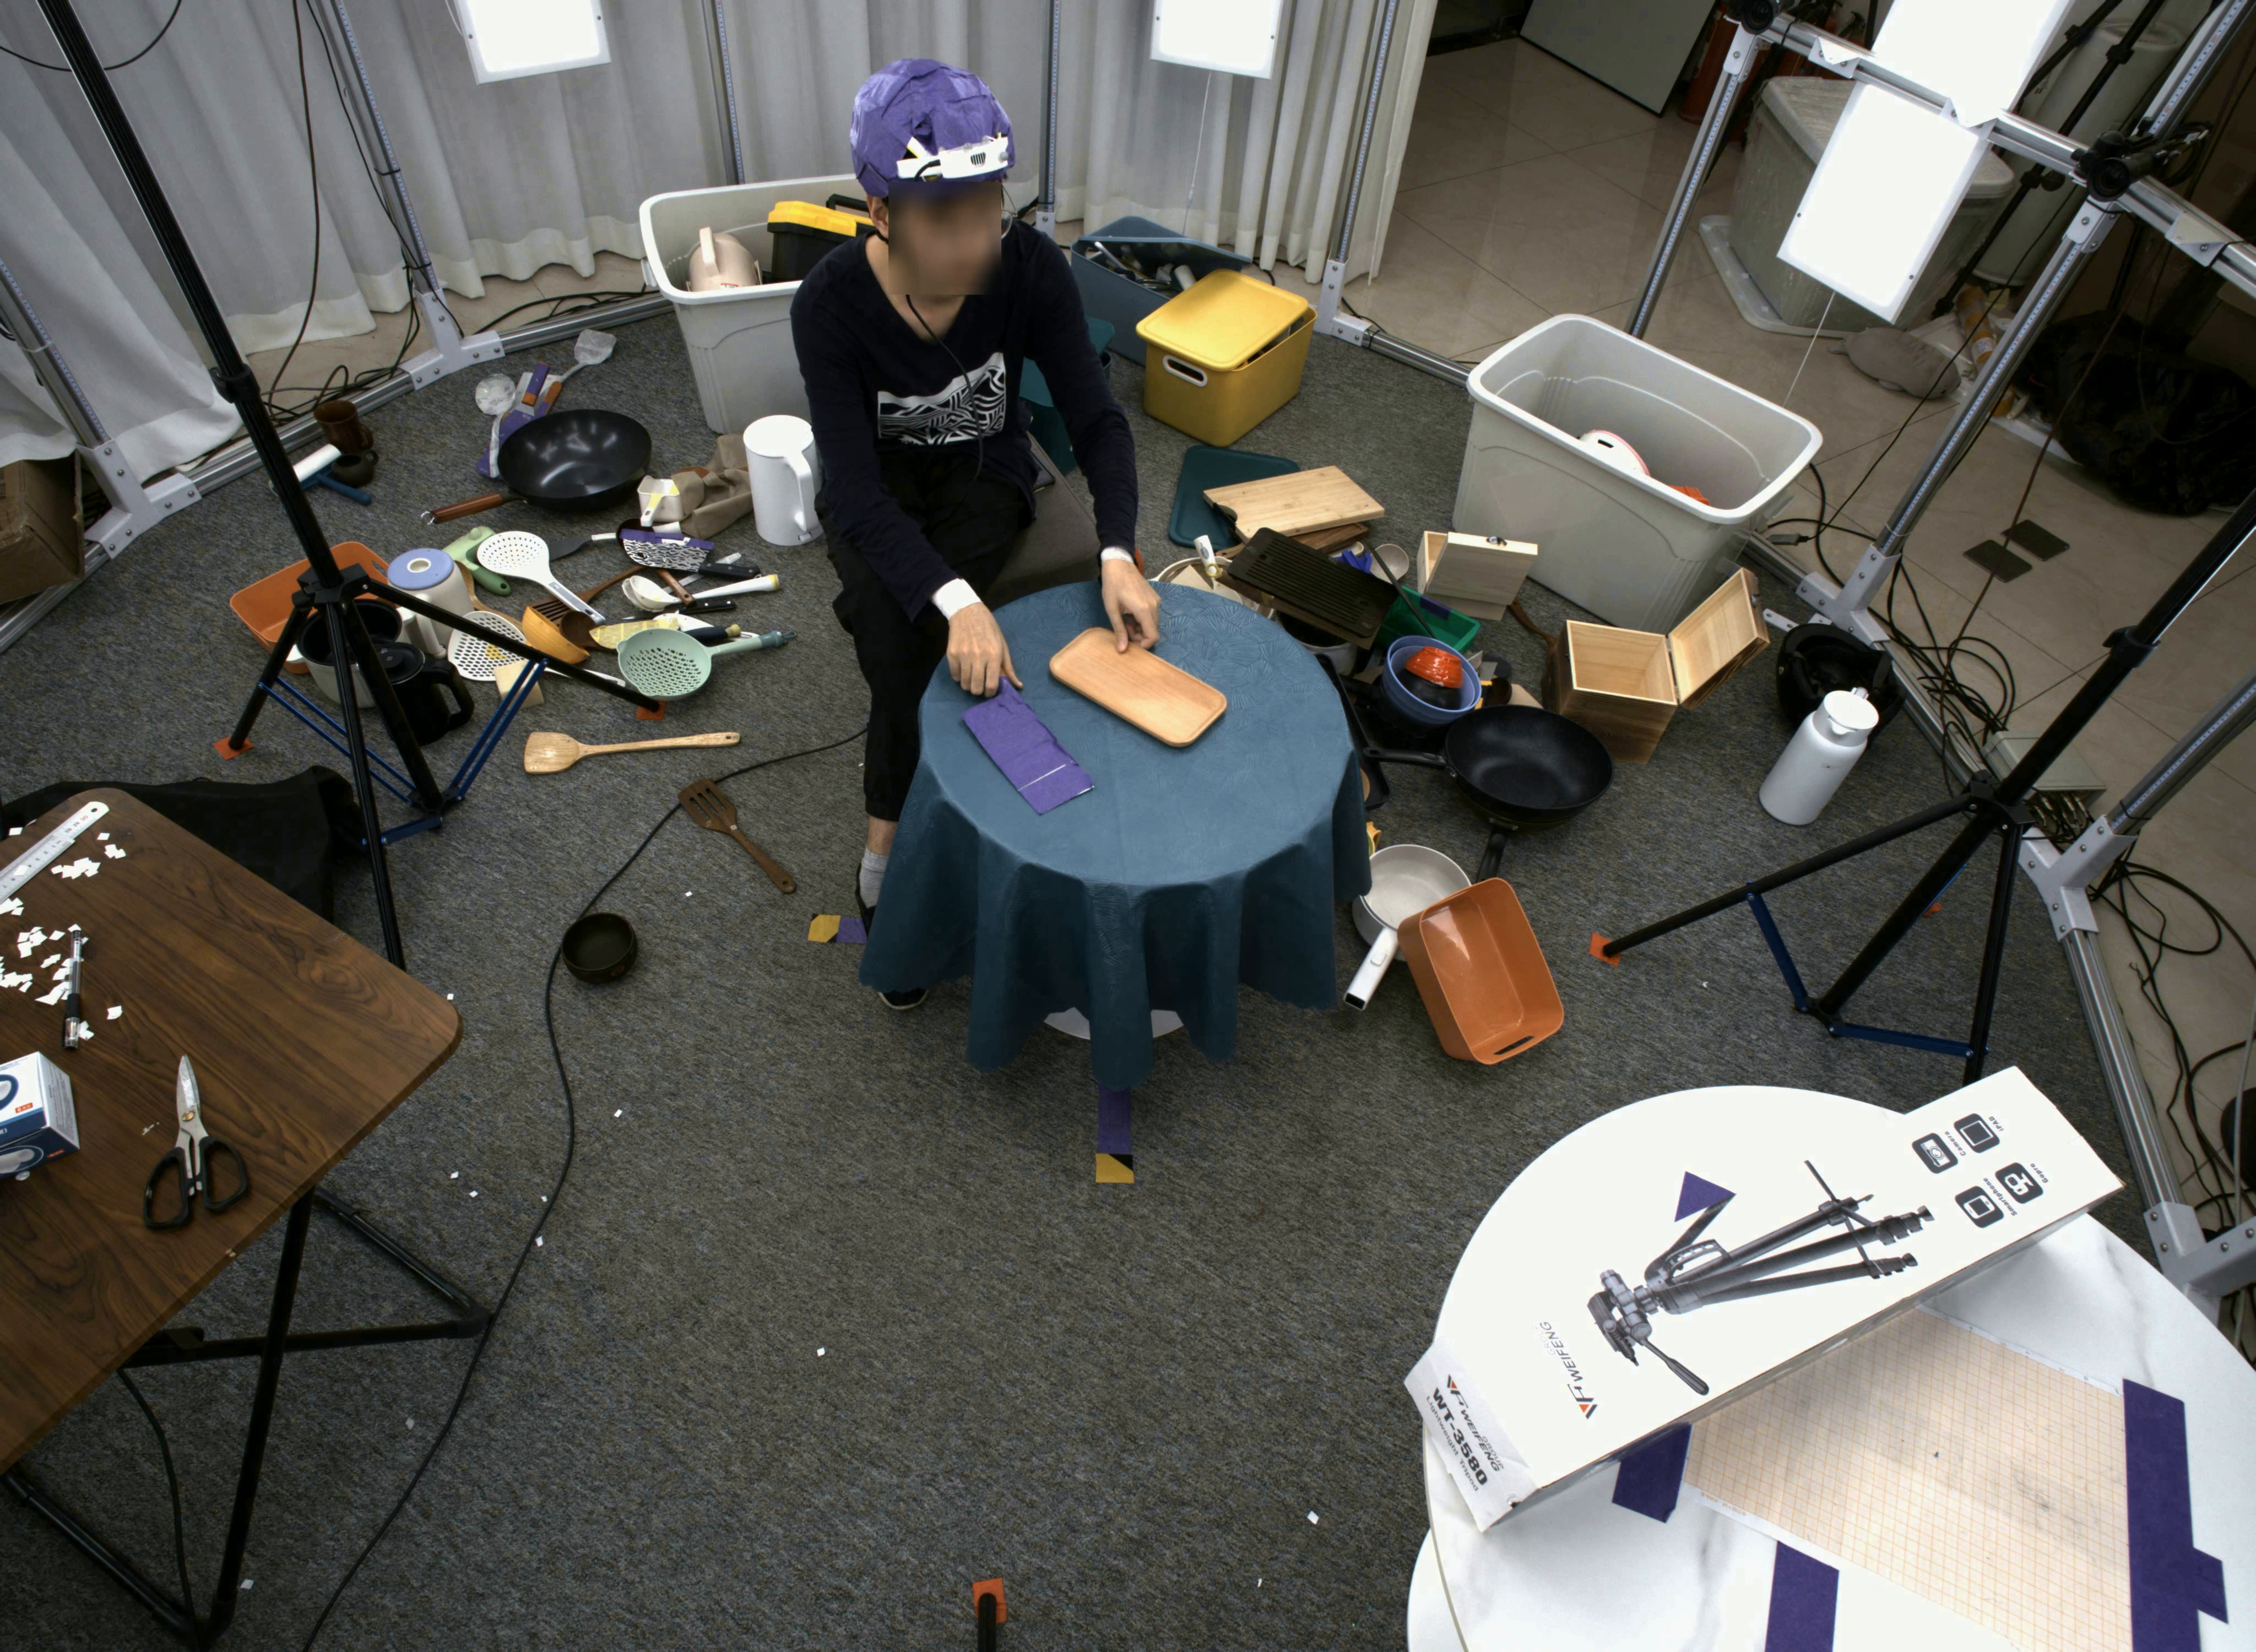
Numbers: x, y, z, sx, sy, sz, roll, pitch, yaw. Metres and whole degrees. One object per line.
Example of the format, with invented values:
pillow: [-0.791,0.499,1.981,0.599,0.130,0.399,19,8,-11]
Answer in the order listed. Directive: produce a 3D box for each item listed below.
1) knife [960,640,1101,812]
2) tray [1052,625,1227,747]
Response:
knife: [-0.165,-0.141,1.761,0.104,0.031,0.321,-27,56,-23]
tray: [0.015,-0.202,1.833,0.254,0.022,0.132,34,53,24]
